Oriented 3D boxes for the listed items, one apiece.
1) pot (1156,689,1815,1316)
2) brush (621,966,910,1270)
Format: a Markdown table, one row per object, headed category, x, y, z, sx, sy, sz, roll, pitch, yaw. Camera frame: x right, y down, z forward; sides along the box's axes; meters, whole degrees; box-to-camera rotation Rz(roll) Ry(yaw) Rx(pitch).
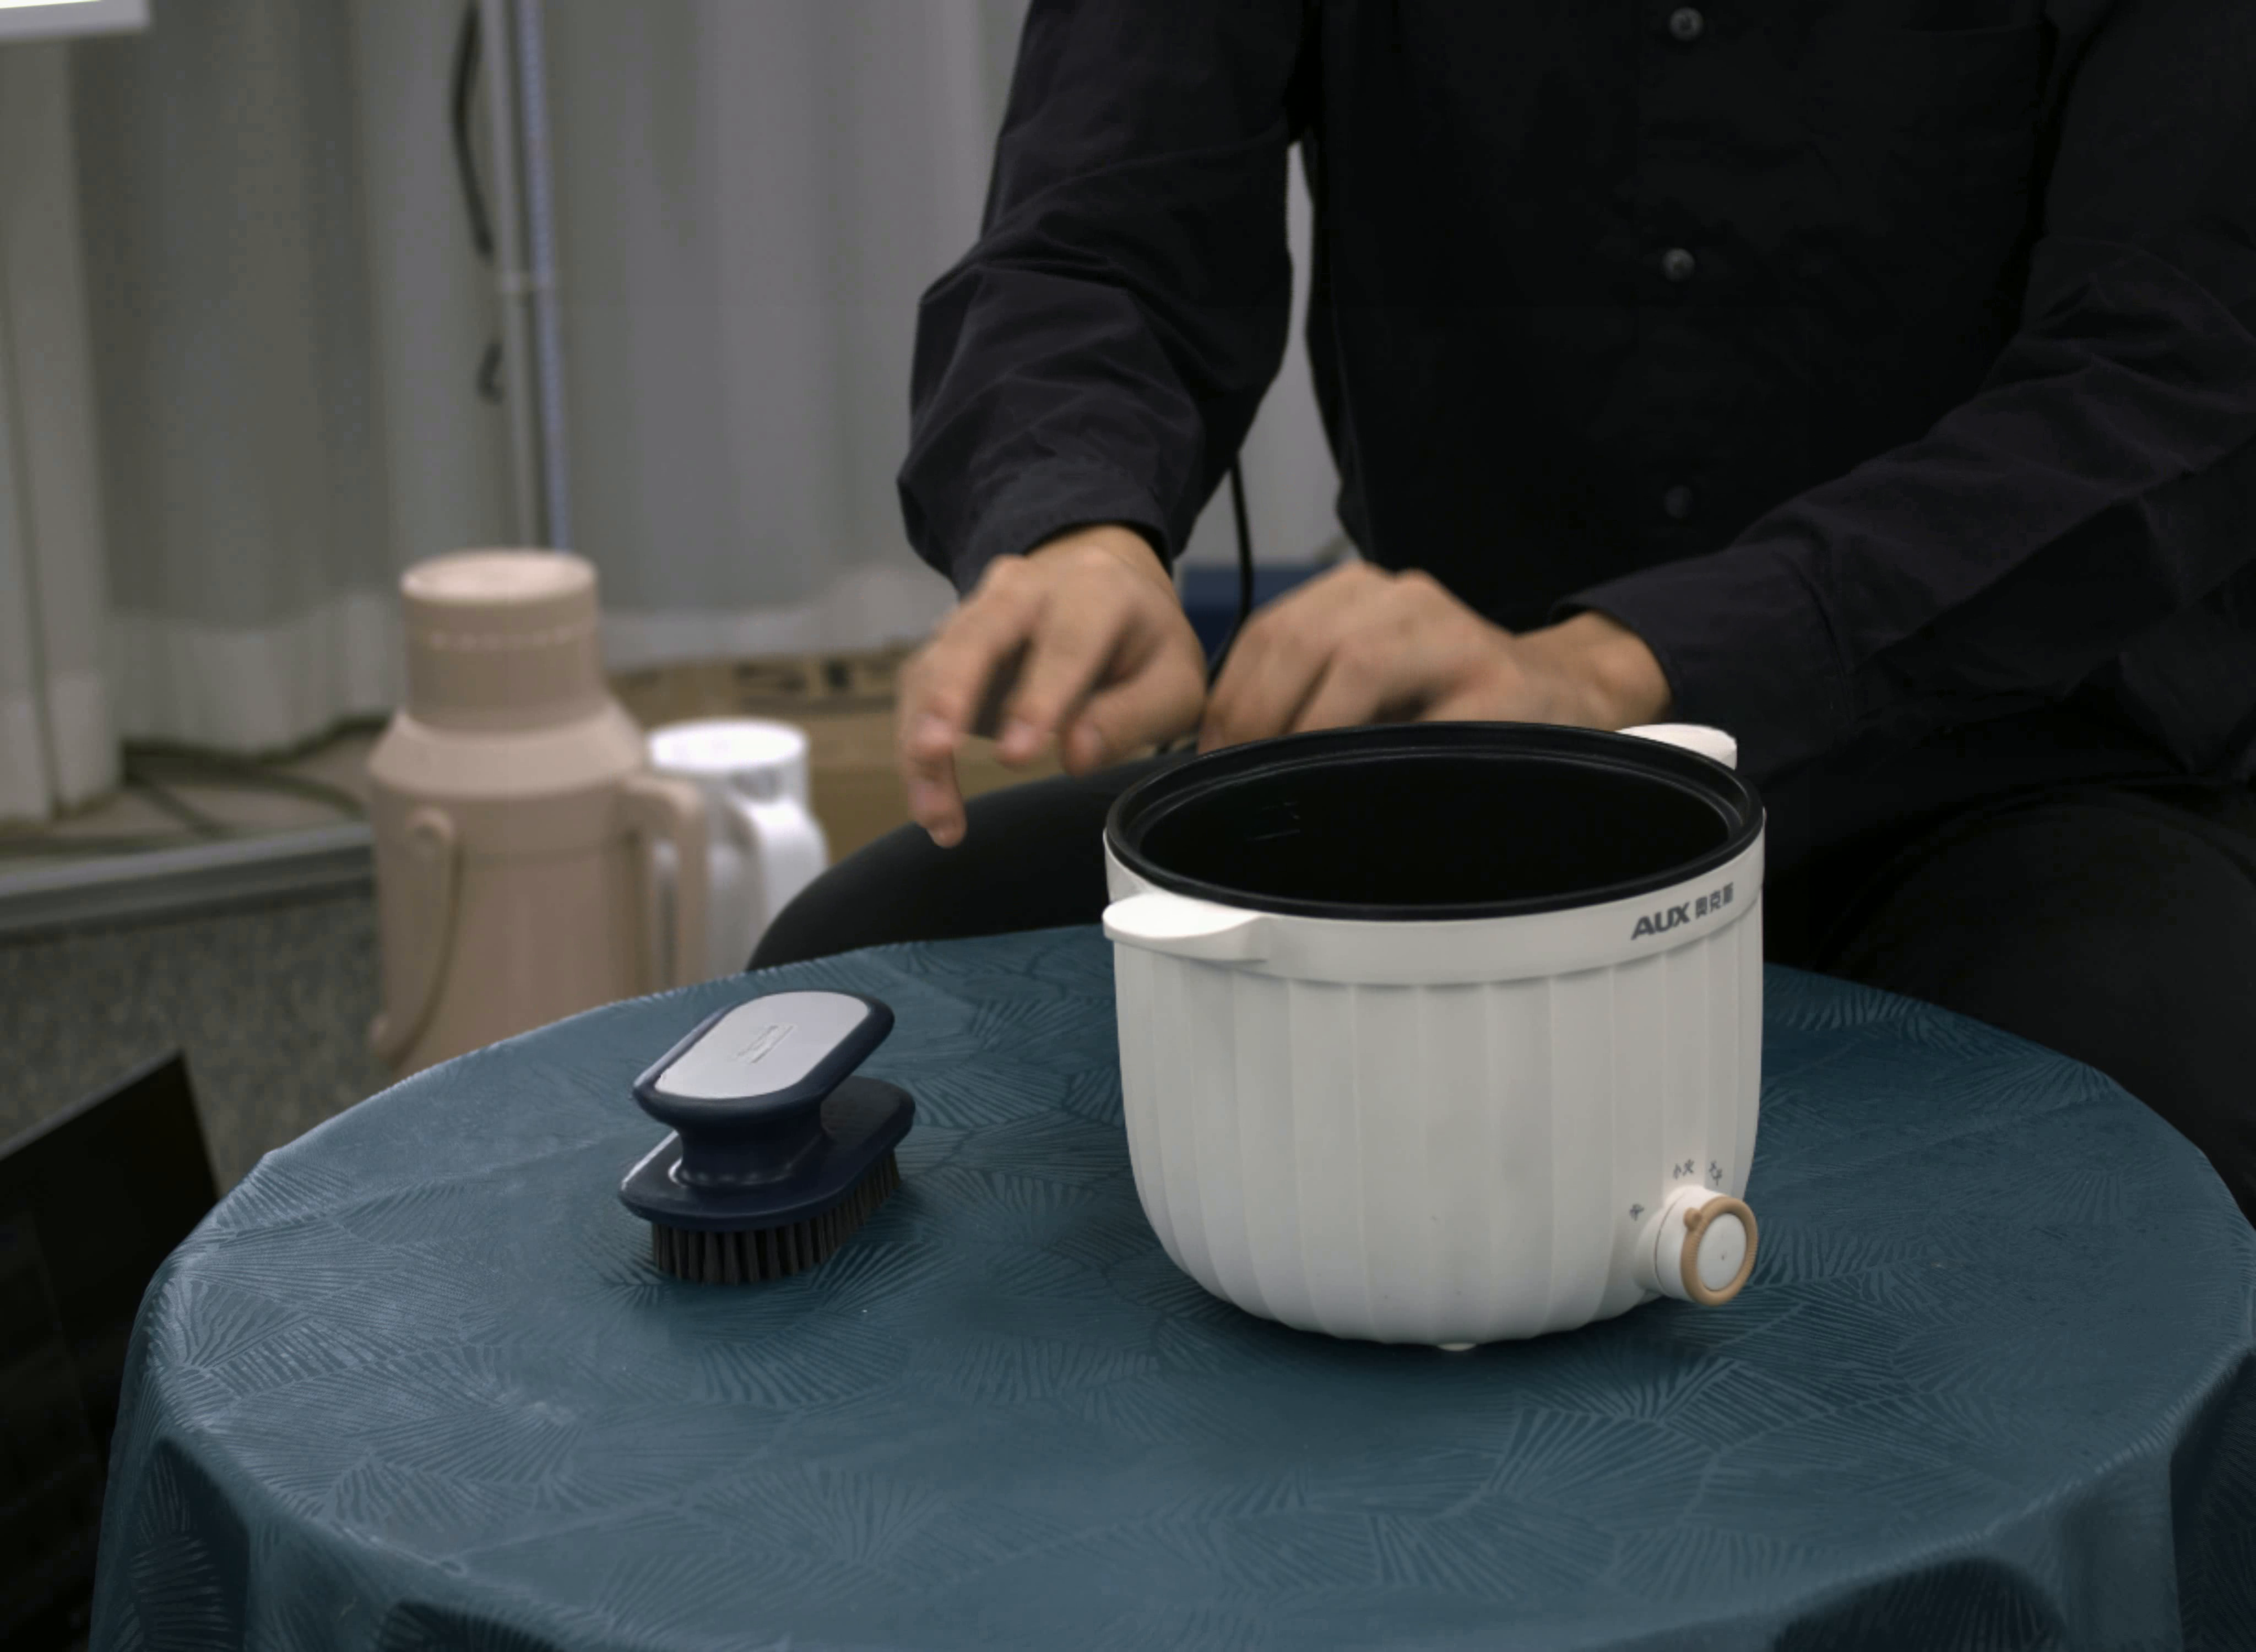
| category | x | y | z | sx | sy | sz | roll | pitch | yaw |
| --- | --- | --- | --- | --- | --- | --- | --- | --- | --- |
| pot | 0.106 | 0.051 | 1.473 | 0.235 | 0.142 | 0.195 | -19 | 20 | -42 |
| brush | -0.106 | 0.087 | 1.565 | 0.069 | 0.061 | 0.120 | 0 | 19 | 22 |
